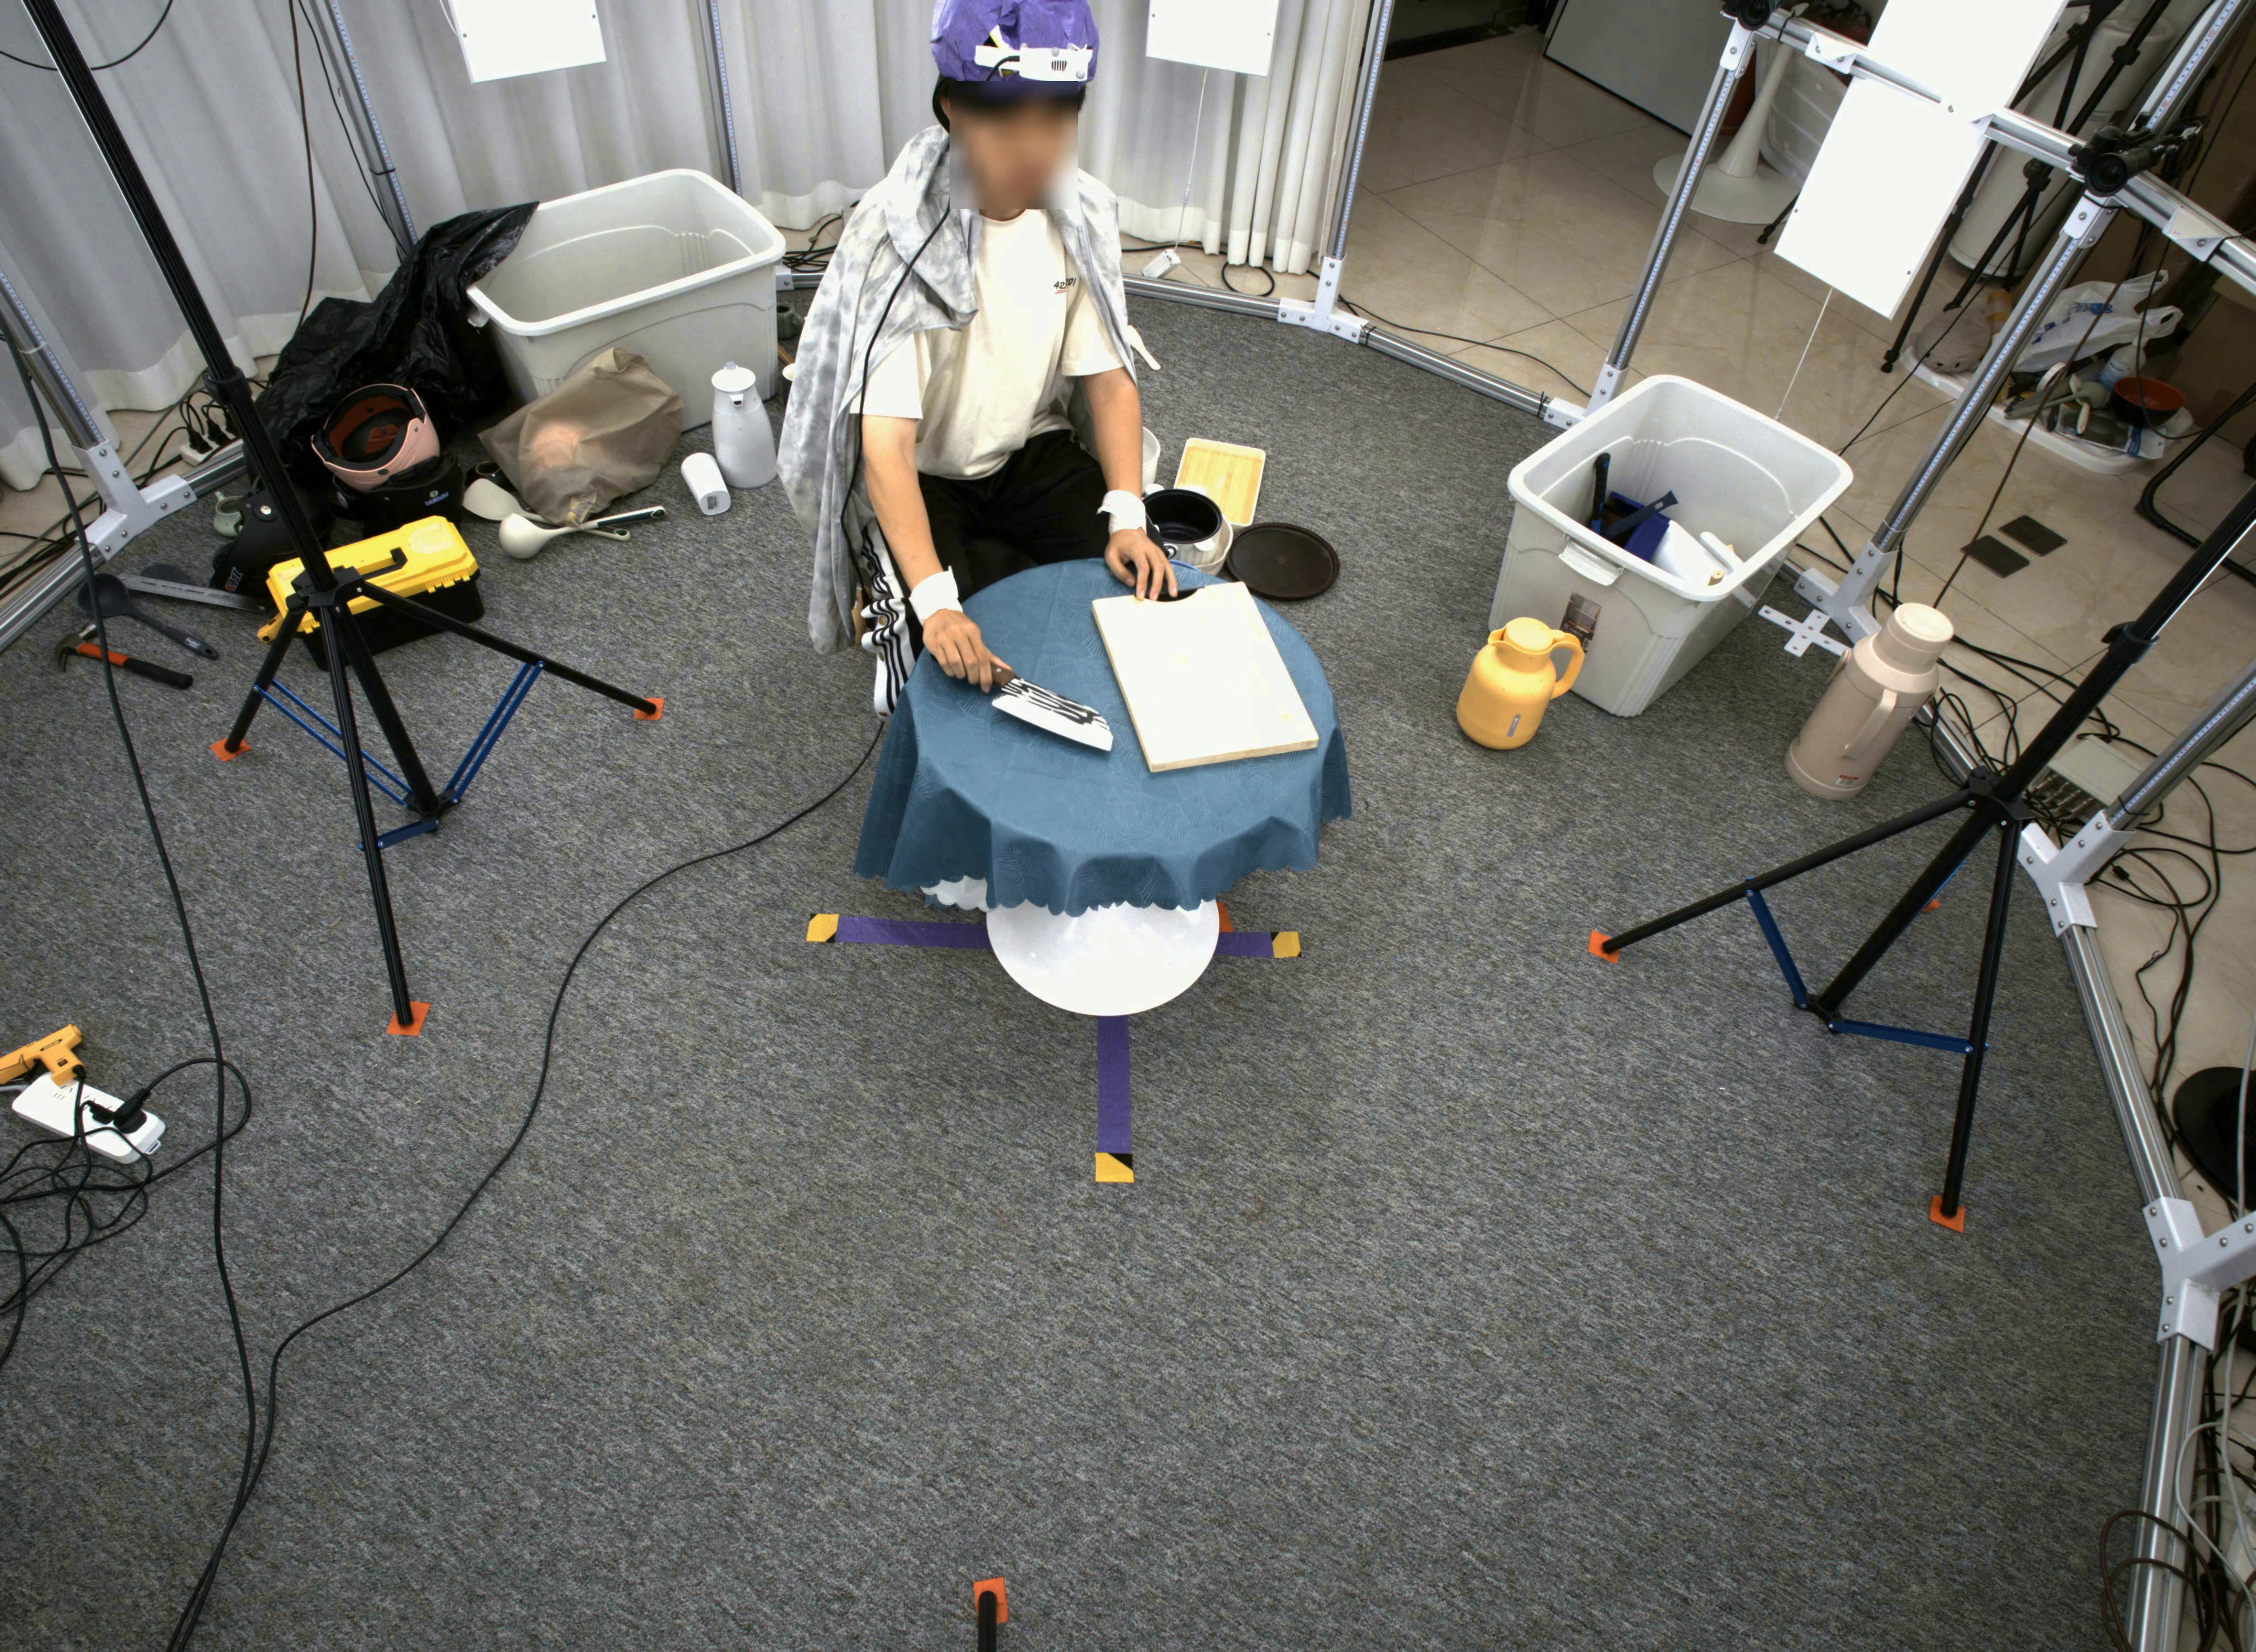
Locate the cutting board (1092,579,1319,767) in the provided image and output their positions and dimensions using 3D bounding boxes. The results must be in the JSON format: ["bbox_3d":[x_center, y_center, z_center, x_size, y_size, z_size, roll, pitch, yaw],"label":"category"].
[{"bbox_3d":[0.104,-0.228,1.856,0.250,0.023,0.357,-10,50,-12],"label":"cutting board"}]

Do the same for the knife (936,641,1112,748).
[{"bbox_3d":[-0.148,-0.181,1.778,0.301,0.023,0.069,25,49,14],"label":"knife"}]
